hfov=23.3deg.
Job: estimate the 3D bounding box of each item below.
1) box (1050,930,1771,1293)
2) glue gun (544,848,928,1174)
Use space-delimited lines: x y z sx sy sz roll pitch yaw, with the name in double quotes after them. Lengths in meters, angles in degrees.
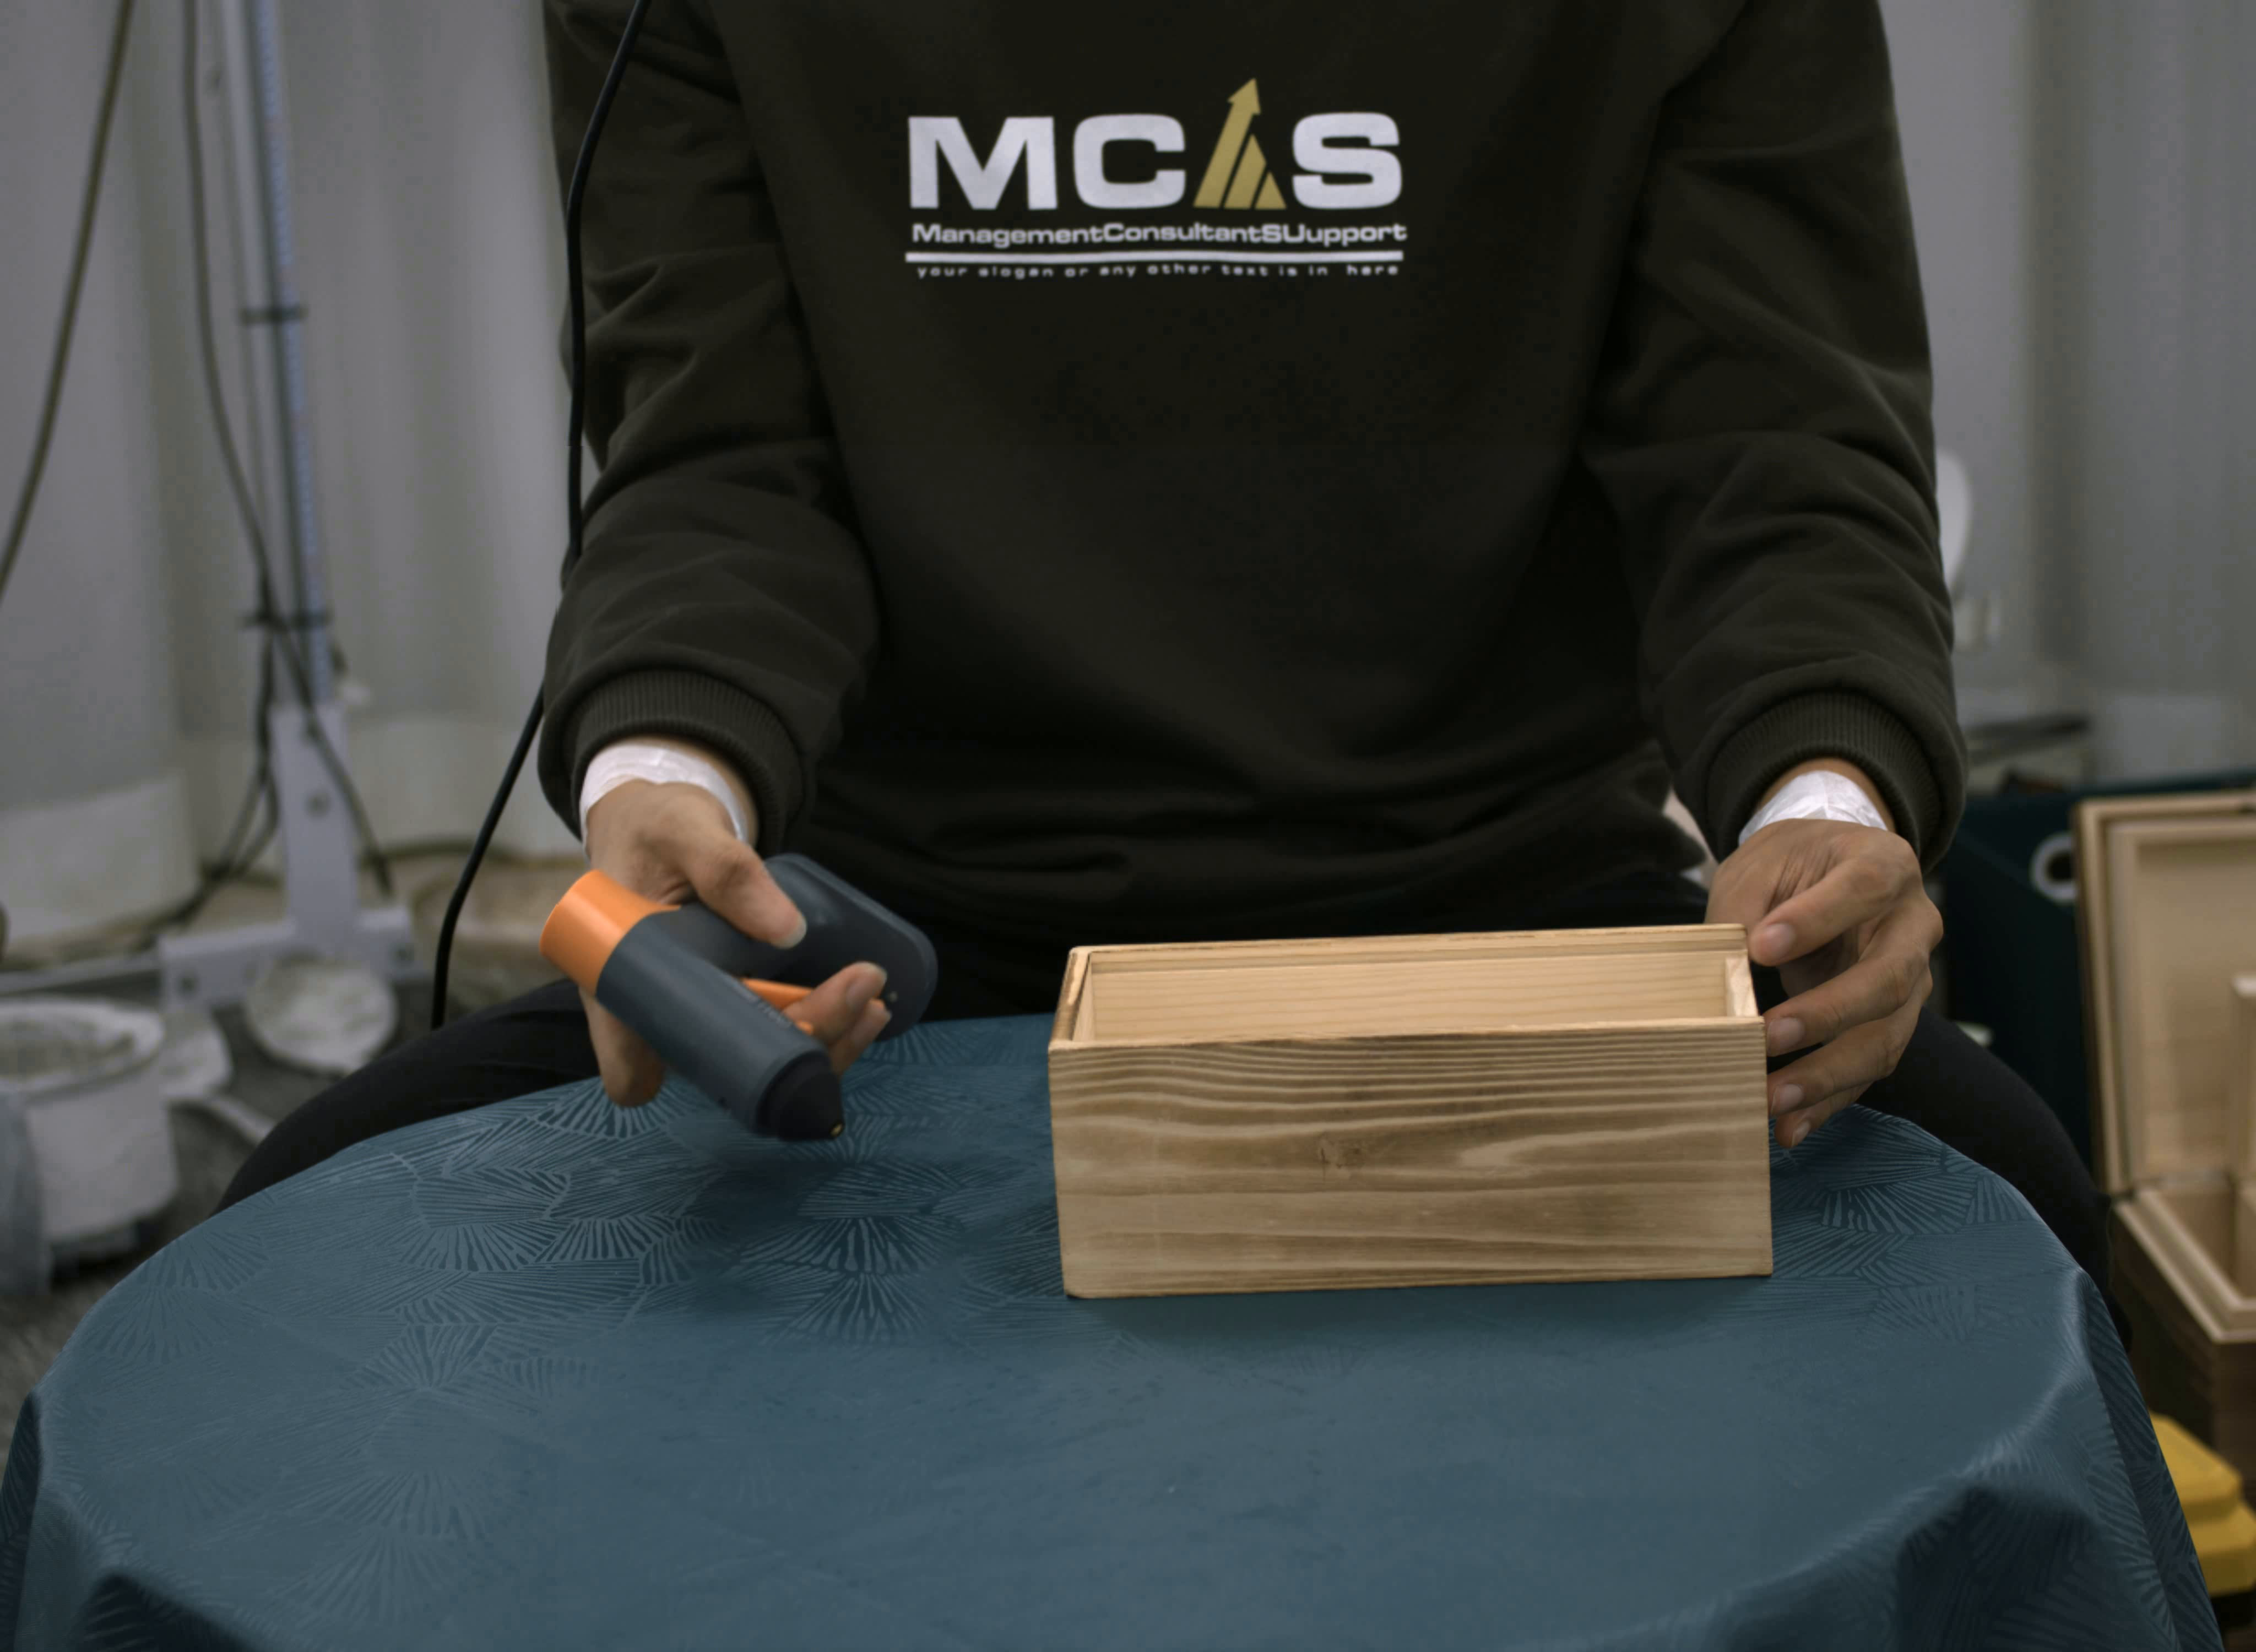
0.086 0.085 1.657 0.211 0.080 0.108 -2 13 4 "box"
-0.115 0.055 1.707 0.118 0.041 0.140 40 21 10 "glue gun"
